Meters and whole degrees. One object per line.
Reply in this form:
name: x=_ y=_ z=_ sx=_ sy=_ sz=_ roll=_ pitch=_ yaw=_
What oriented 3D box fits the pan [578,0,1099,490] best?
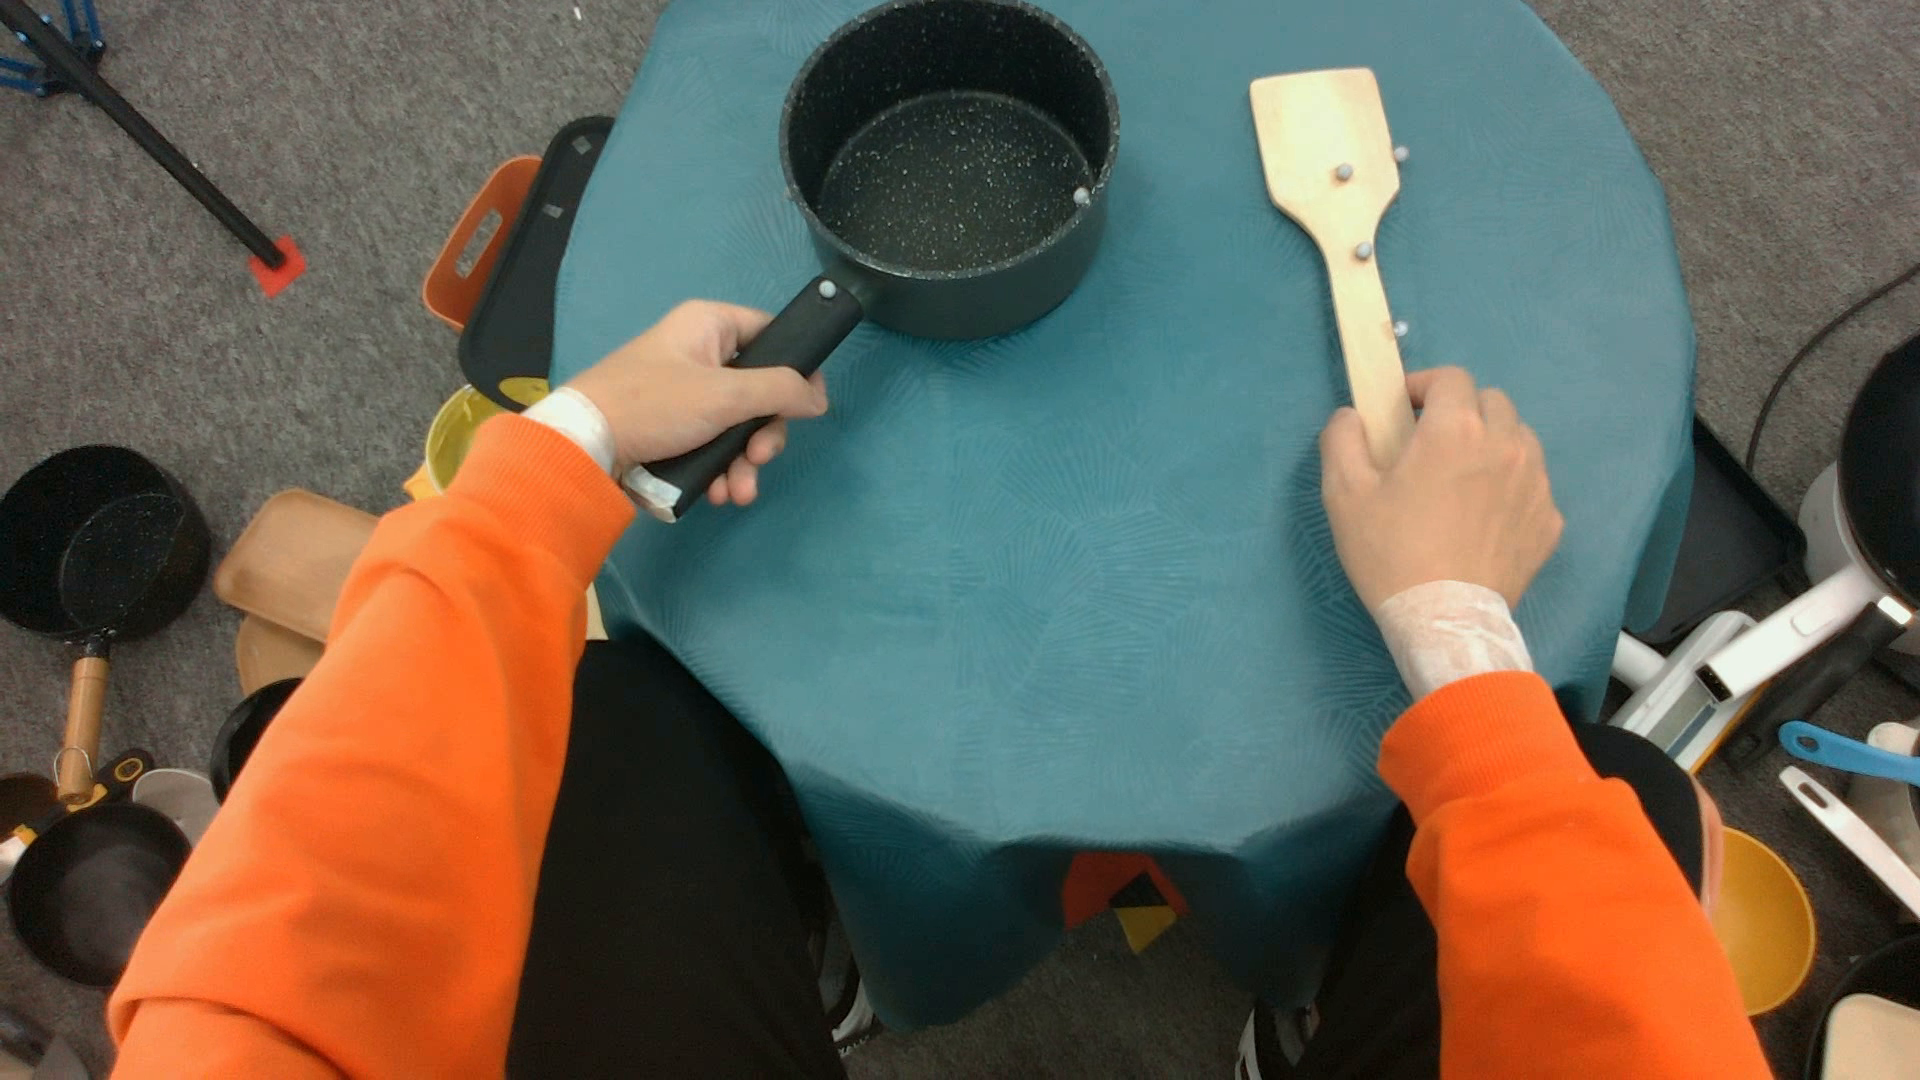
pan: x=-0.062 y=-0.141 z=0.698 sx=0.172 sy=0.086 sz=0.329 roll=34 pitch=73 yaw=15

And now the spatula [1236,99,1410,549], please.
spatula: x=0.197 y=-0.123 z=0.721 sx=0.072 sy=0.010 sz=0.294 roll=0 pitch=60 yaw=-4
